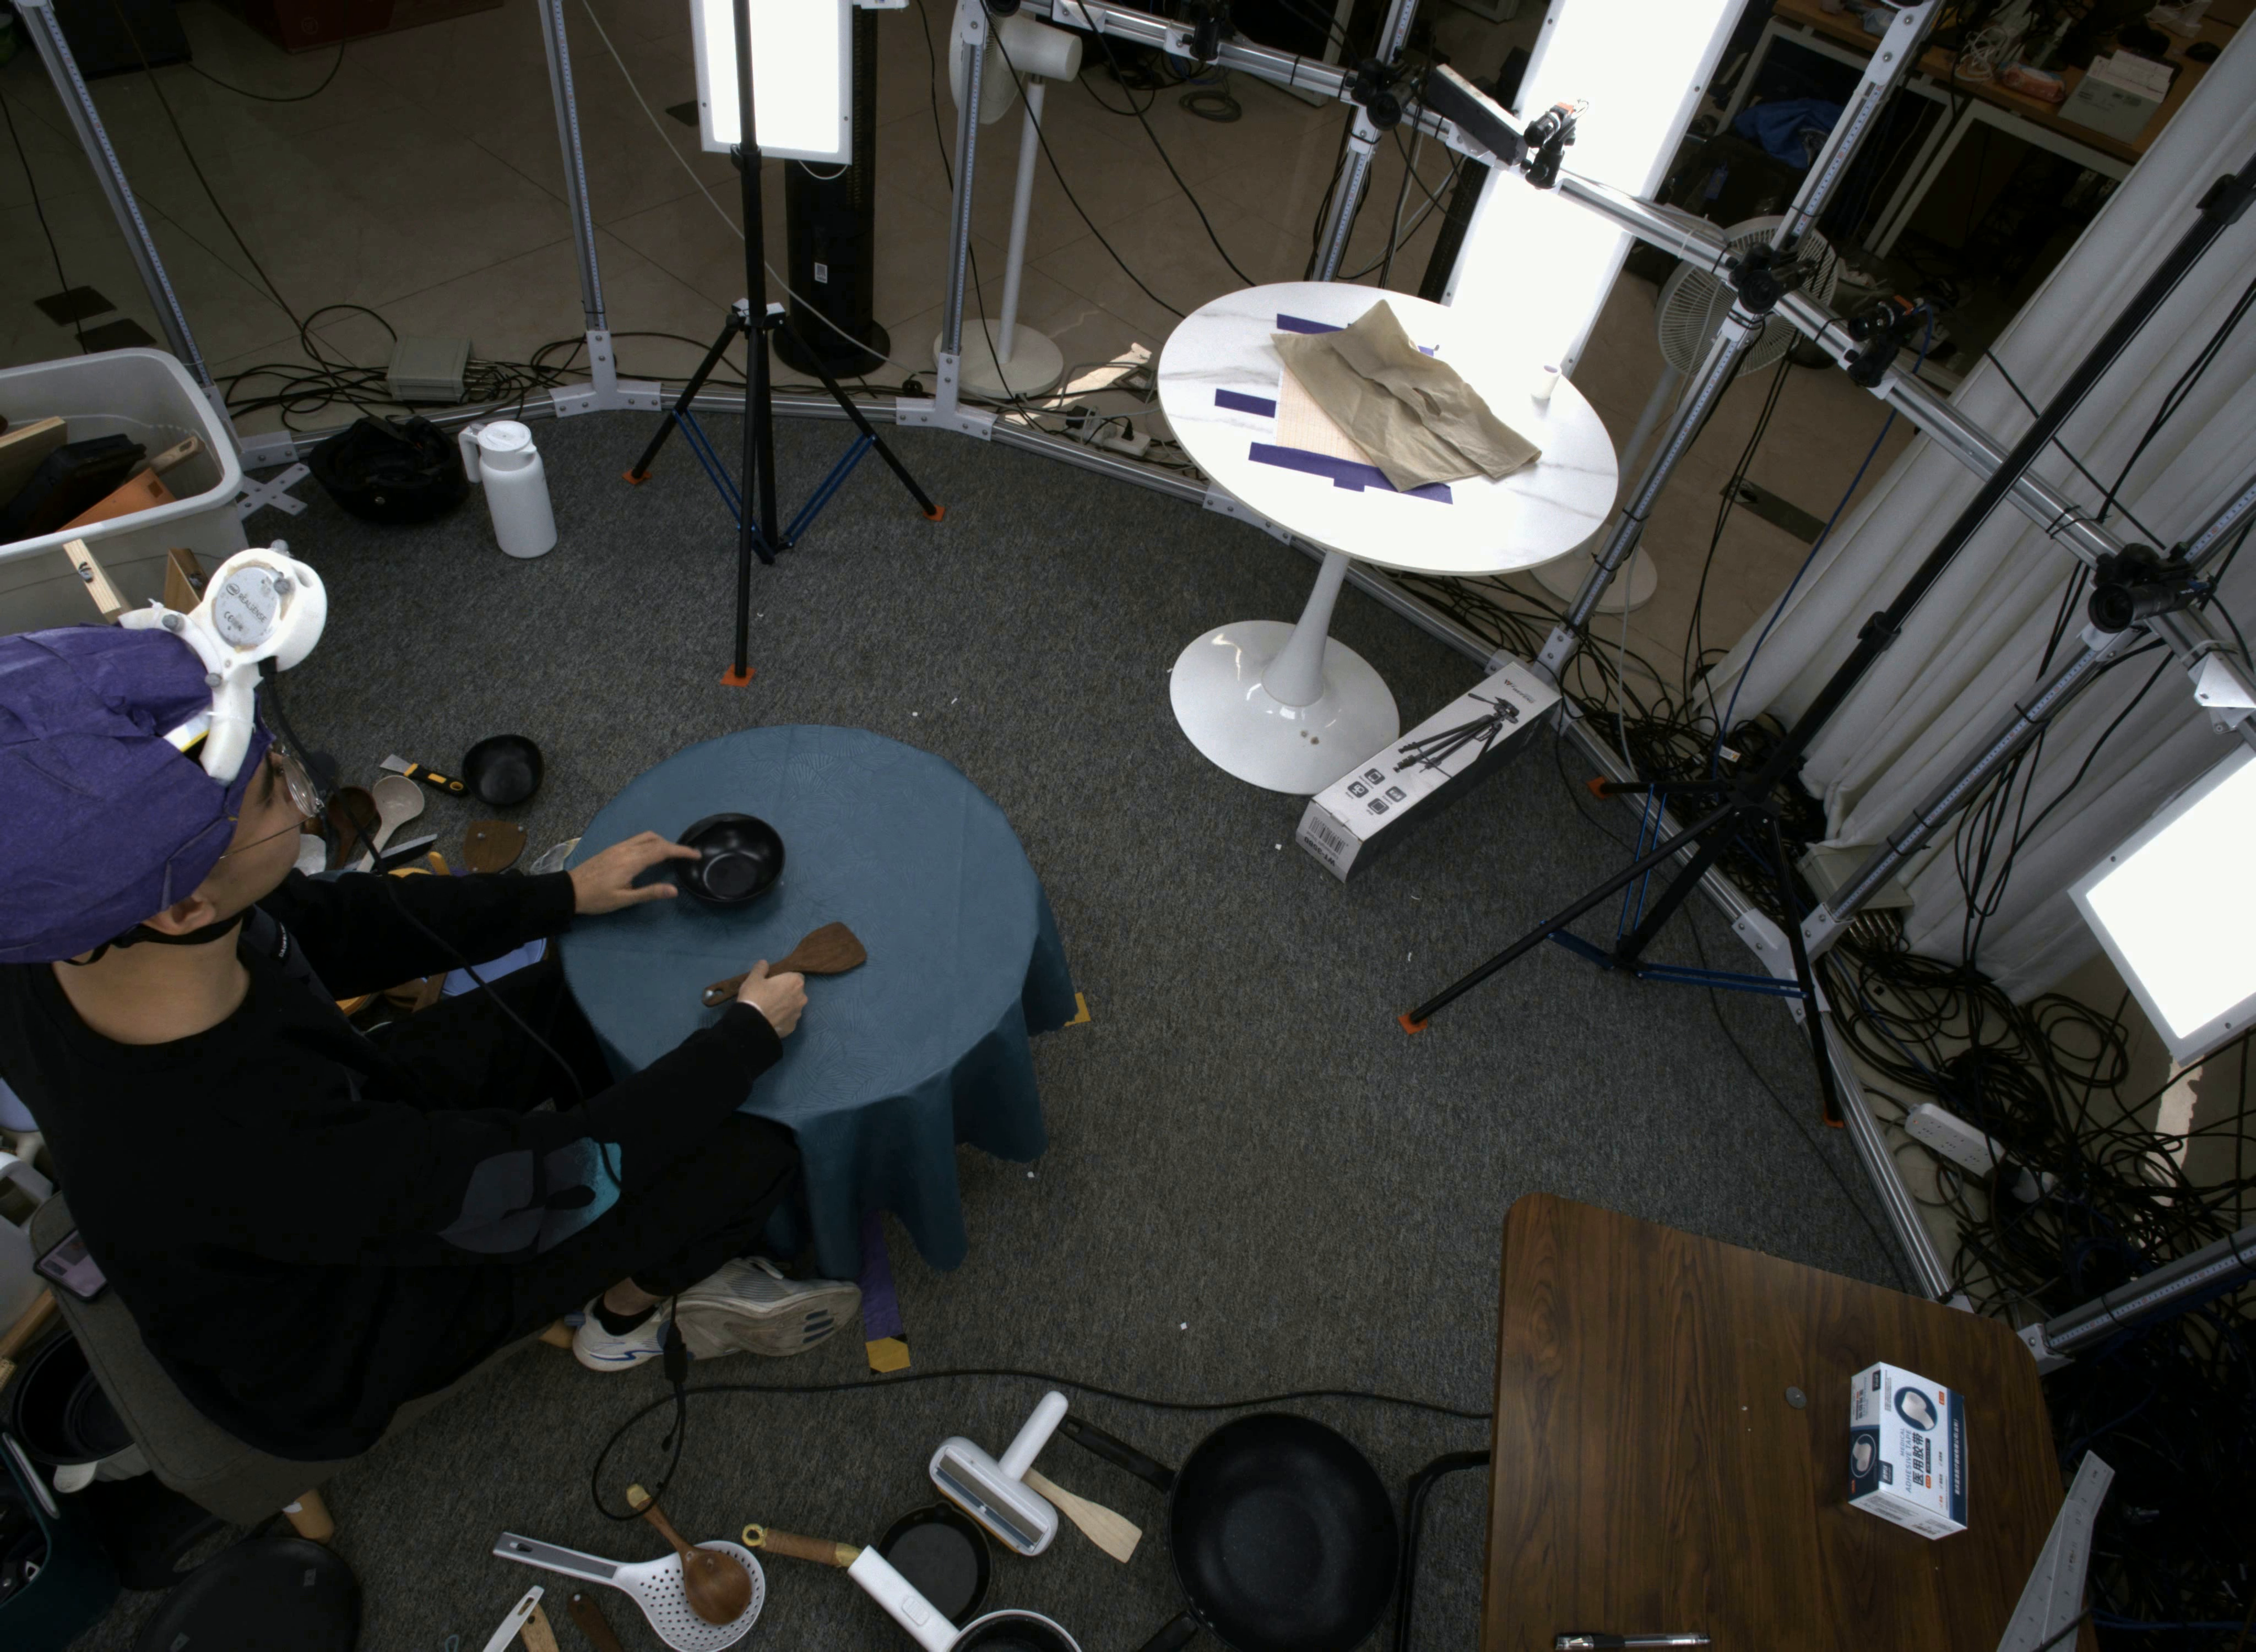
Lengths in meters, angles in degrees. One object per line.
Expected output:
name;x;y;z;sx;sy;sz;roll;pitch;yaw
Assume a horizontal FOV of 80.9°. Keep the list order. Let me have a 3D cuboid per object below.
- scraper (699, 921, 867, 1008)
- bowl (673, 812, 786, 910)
scraper;-0.422;0.173;1.579;0.213;0.011;0.074;-21;58;-38
bowl;-0.504;0.050;1.640;0.140;0.050;0.138;8;55;-10
